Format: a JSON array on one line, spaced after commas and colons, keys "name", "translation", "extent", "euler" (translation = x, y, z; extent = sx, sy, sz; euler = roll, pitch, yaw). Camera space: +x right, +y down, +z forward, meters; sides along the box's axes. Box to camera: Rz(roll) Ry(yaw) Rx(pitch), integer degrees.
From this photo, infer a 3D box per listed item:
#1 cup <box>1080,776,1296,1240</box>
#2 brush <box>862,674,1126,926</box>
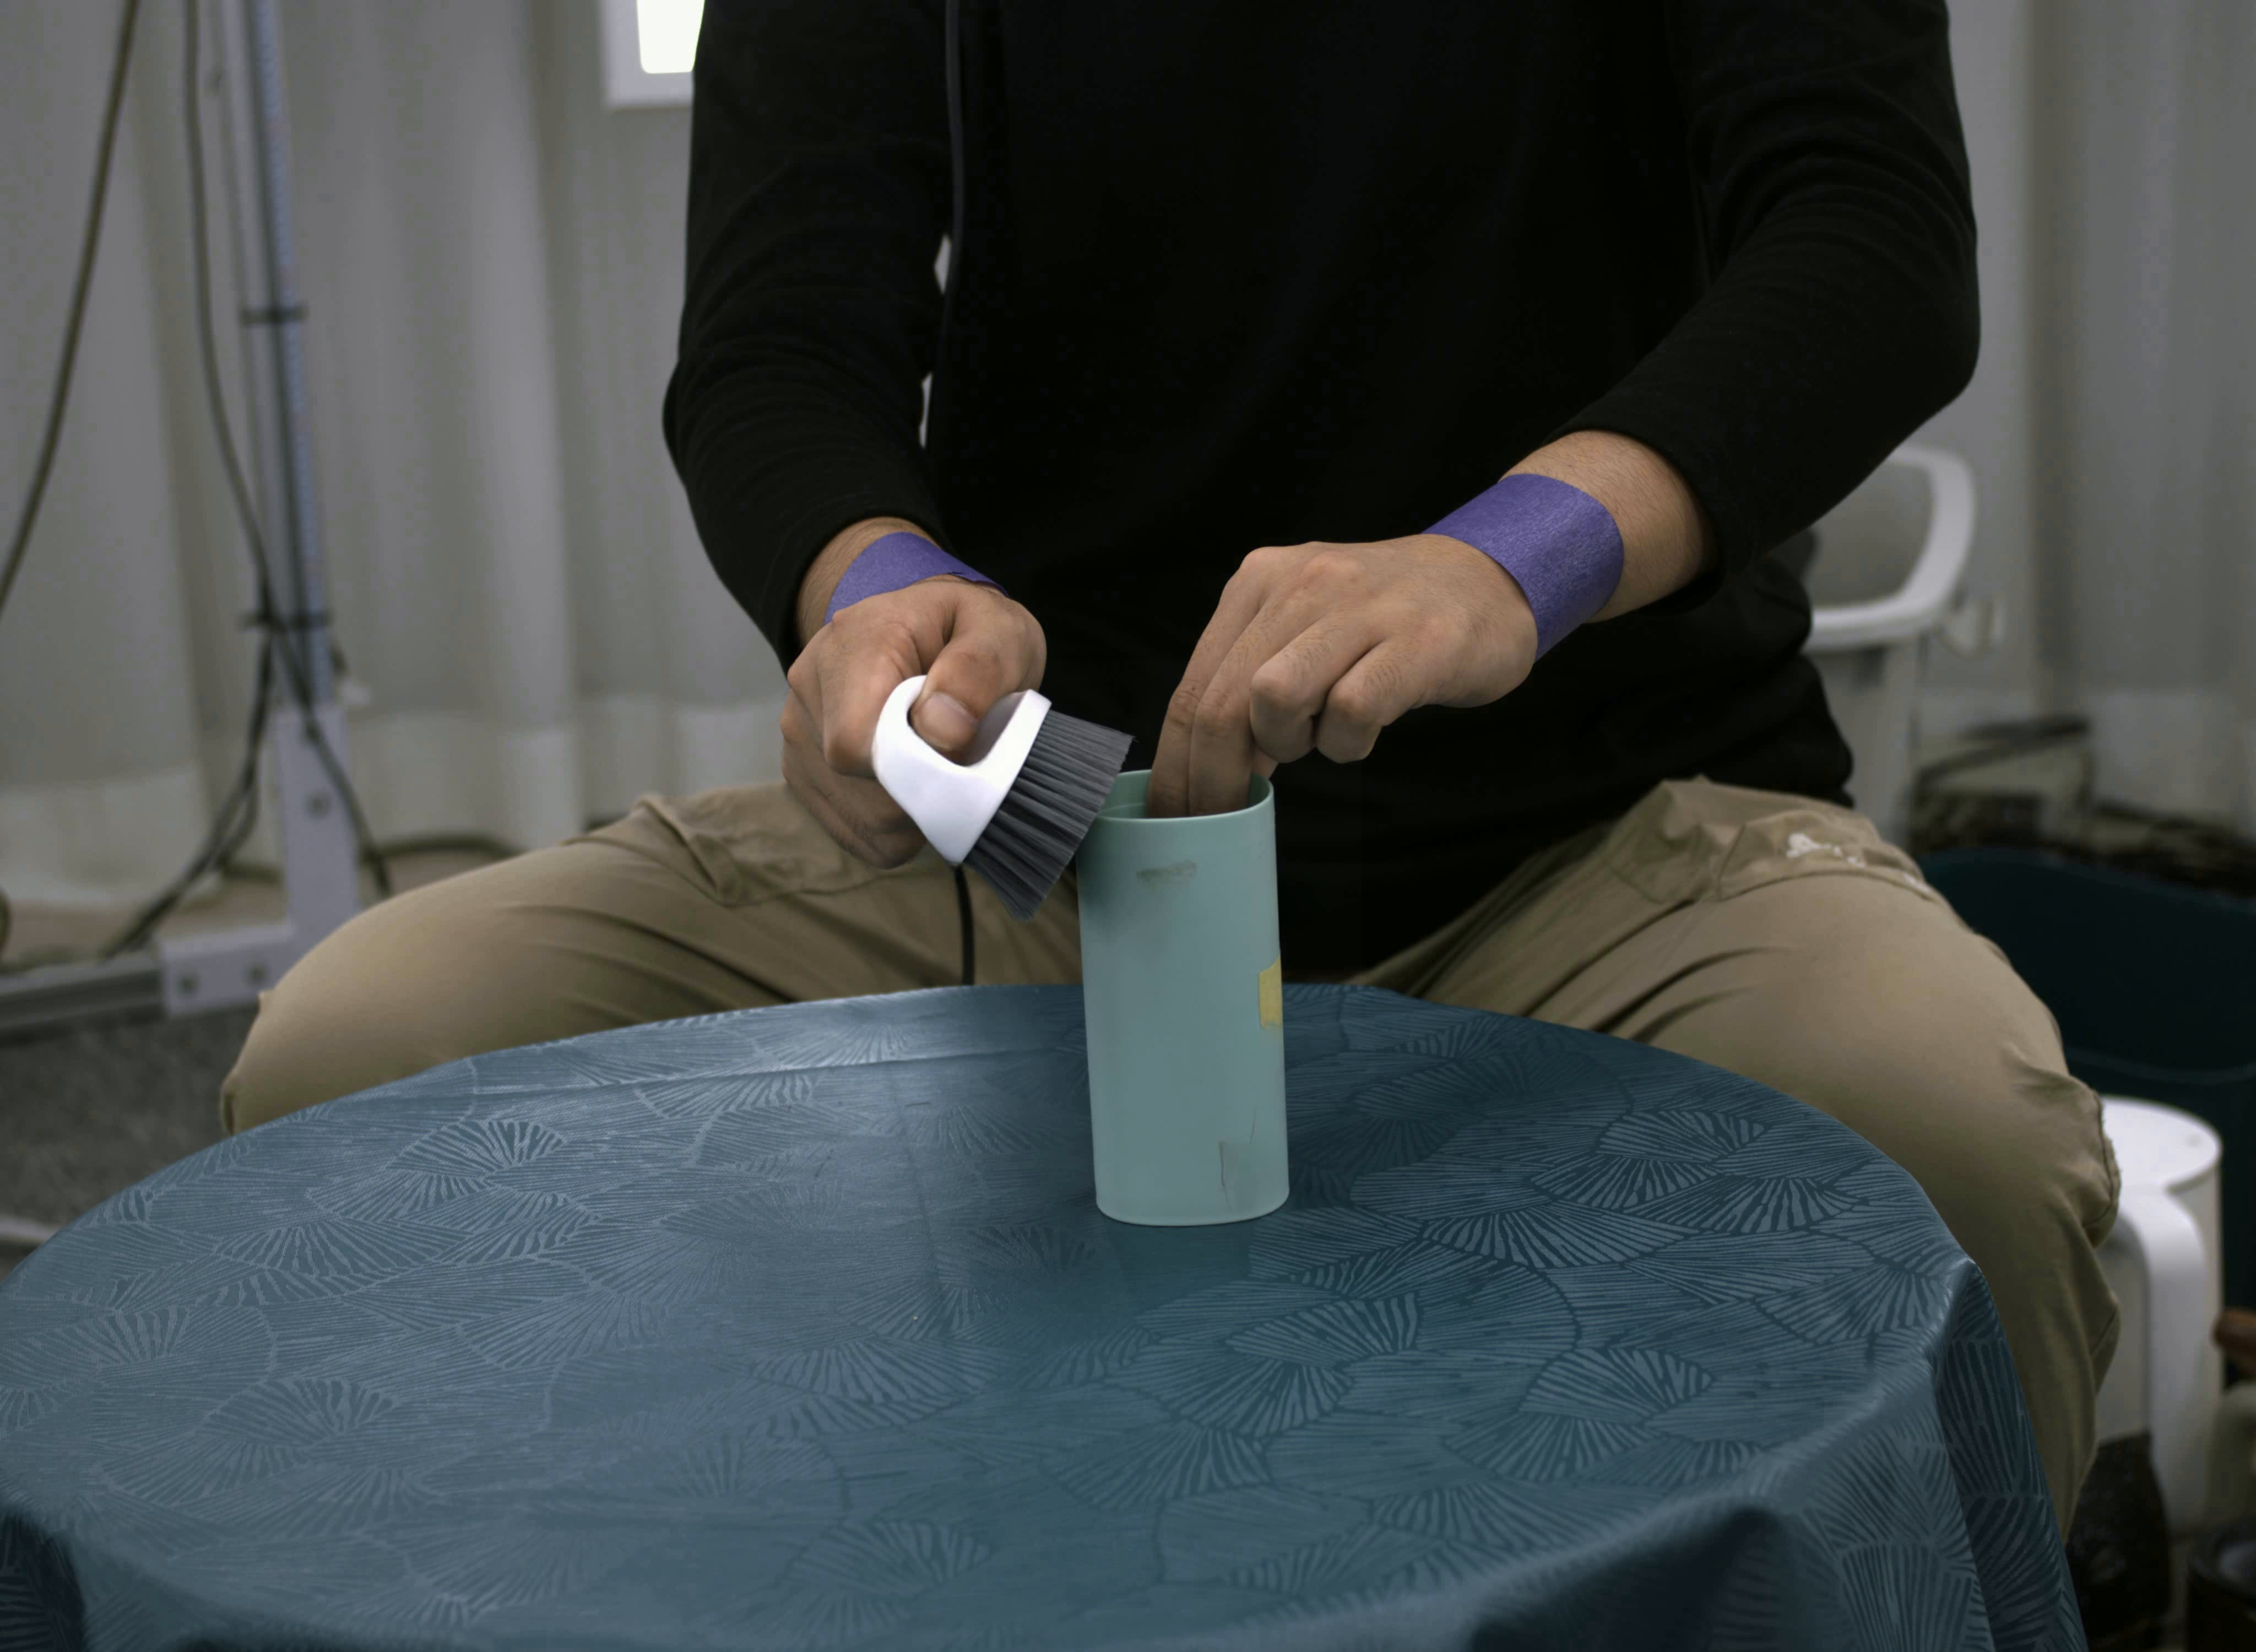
[{"name": "cup", "translation": [0.018, 0.056, 1.694], "extent": [0.066, 0.132, 0.067], "euler": [-3, 14, 0]}, {"name": "brush", "translation": [-0.046, -0.017, 1.665], "extent": [0.072, 0.050, 0.100], "euler": [31, 19, -3]}]
